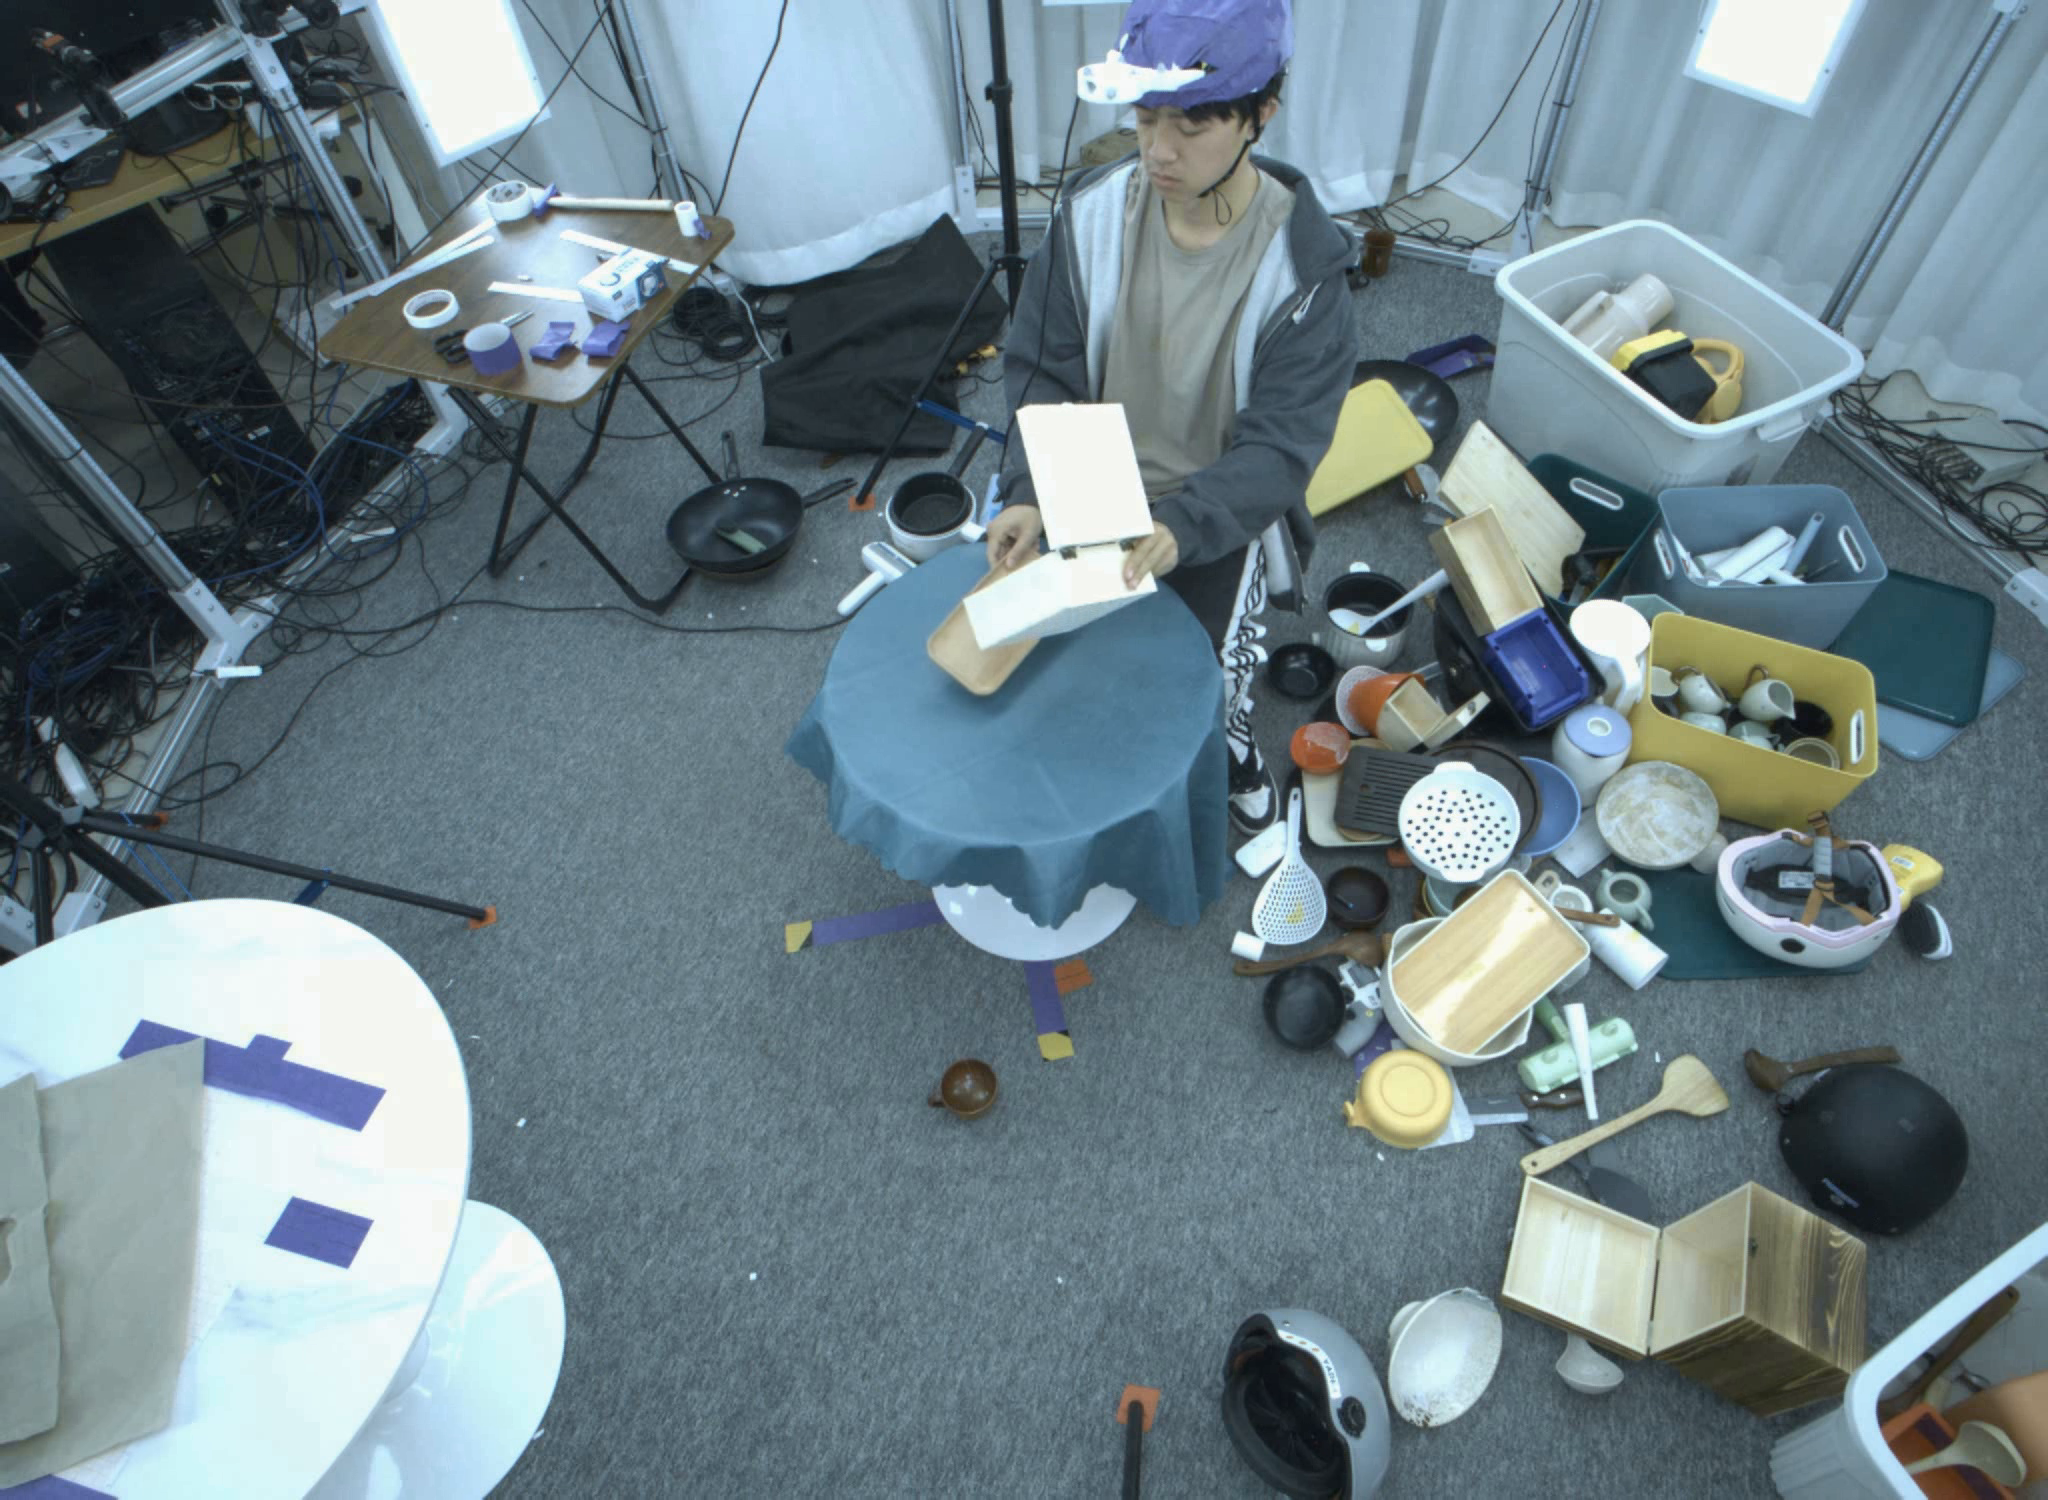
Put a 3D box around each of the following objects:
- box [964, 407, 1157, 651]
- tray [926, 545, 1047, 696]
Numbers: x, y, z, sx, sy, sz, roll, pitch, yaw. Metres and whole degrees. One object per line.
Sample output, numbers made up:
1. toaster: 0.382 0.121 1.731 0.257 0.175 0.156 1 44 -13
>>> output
1. box: 0.046 -0.298 1.648 0.185 0.260 0.253 -15 88 -45
2. tray: -0.033 -0.197 1.852 0.131 0.023 0.251 41 67 -2
